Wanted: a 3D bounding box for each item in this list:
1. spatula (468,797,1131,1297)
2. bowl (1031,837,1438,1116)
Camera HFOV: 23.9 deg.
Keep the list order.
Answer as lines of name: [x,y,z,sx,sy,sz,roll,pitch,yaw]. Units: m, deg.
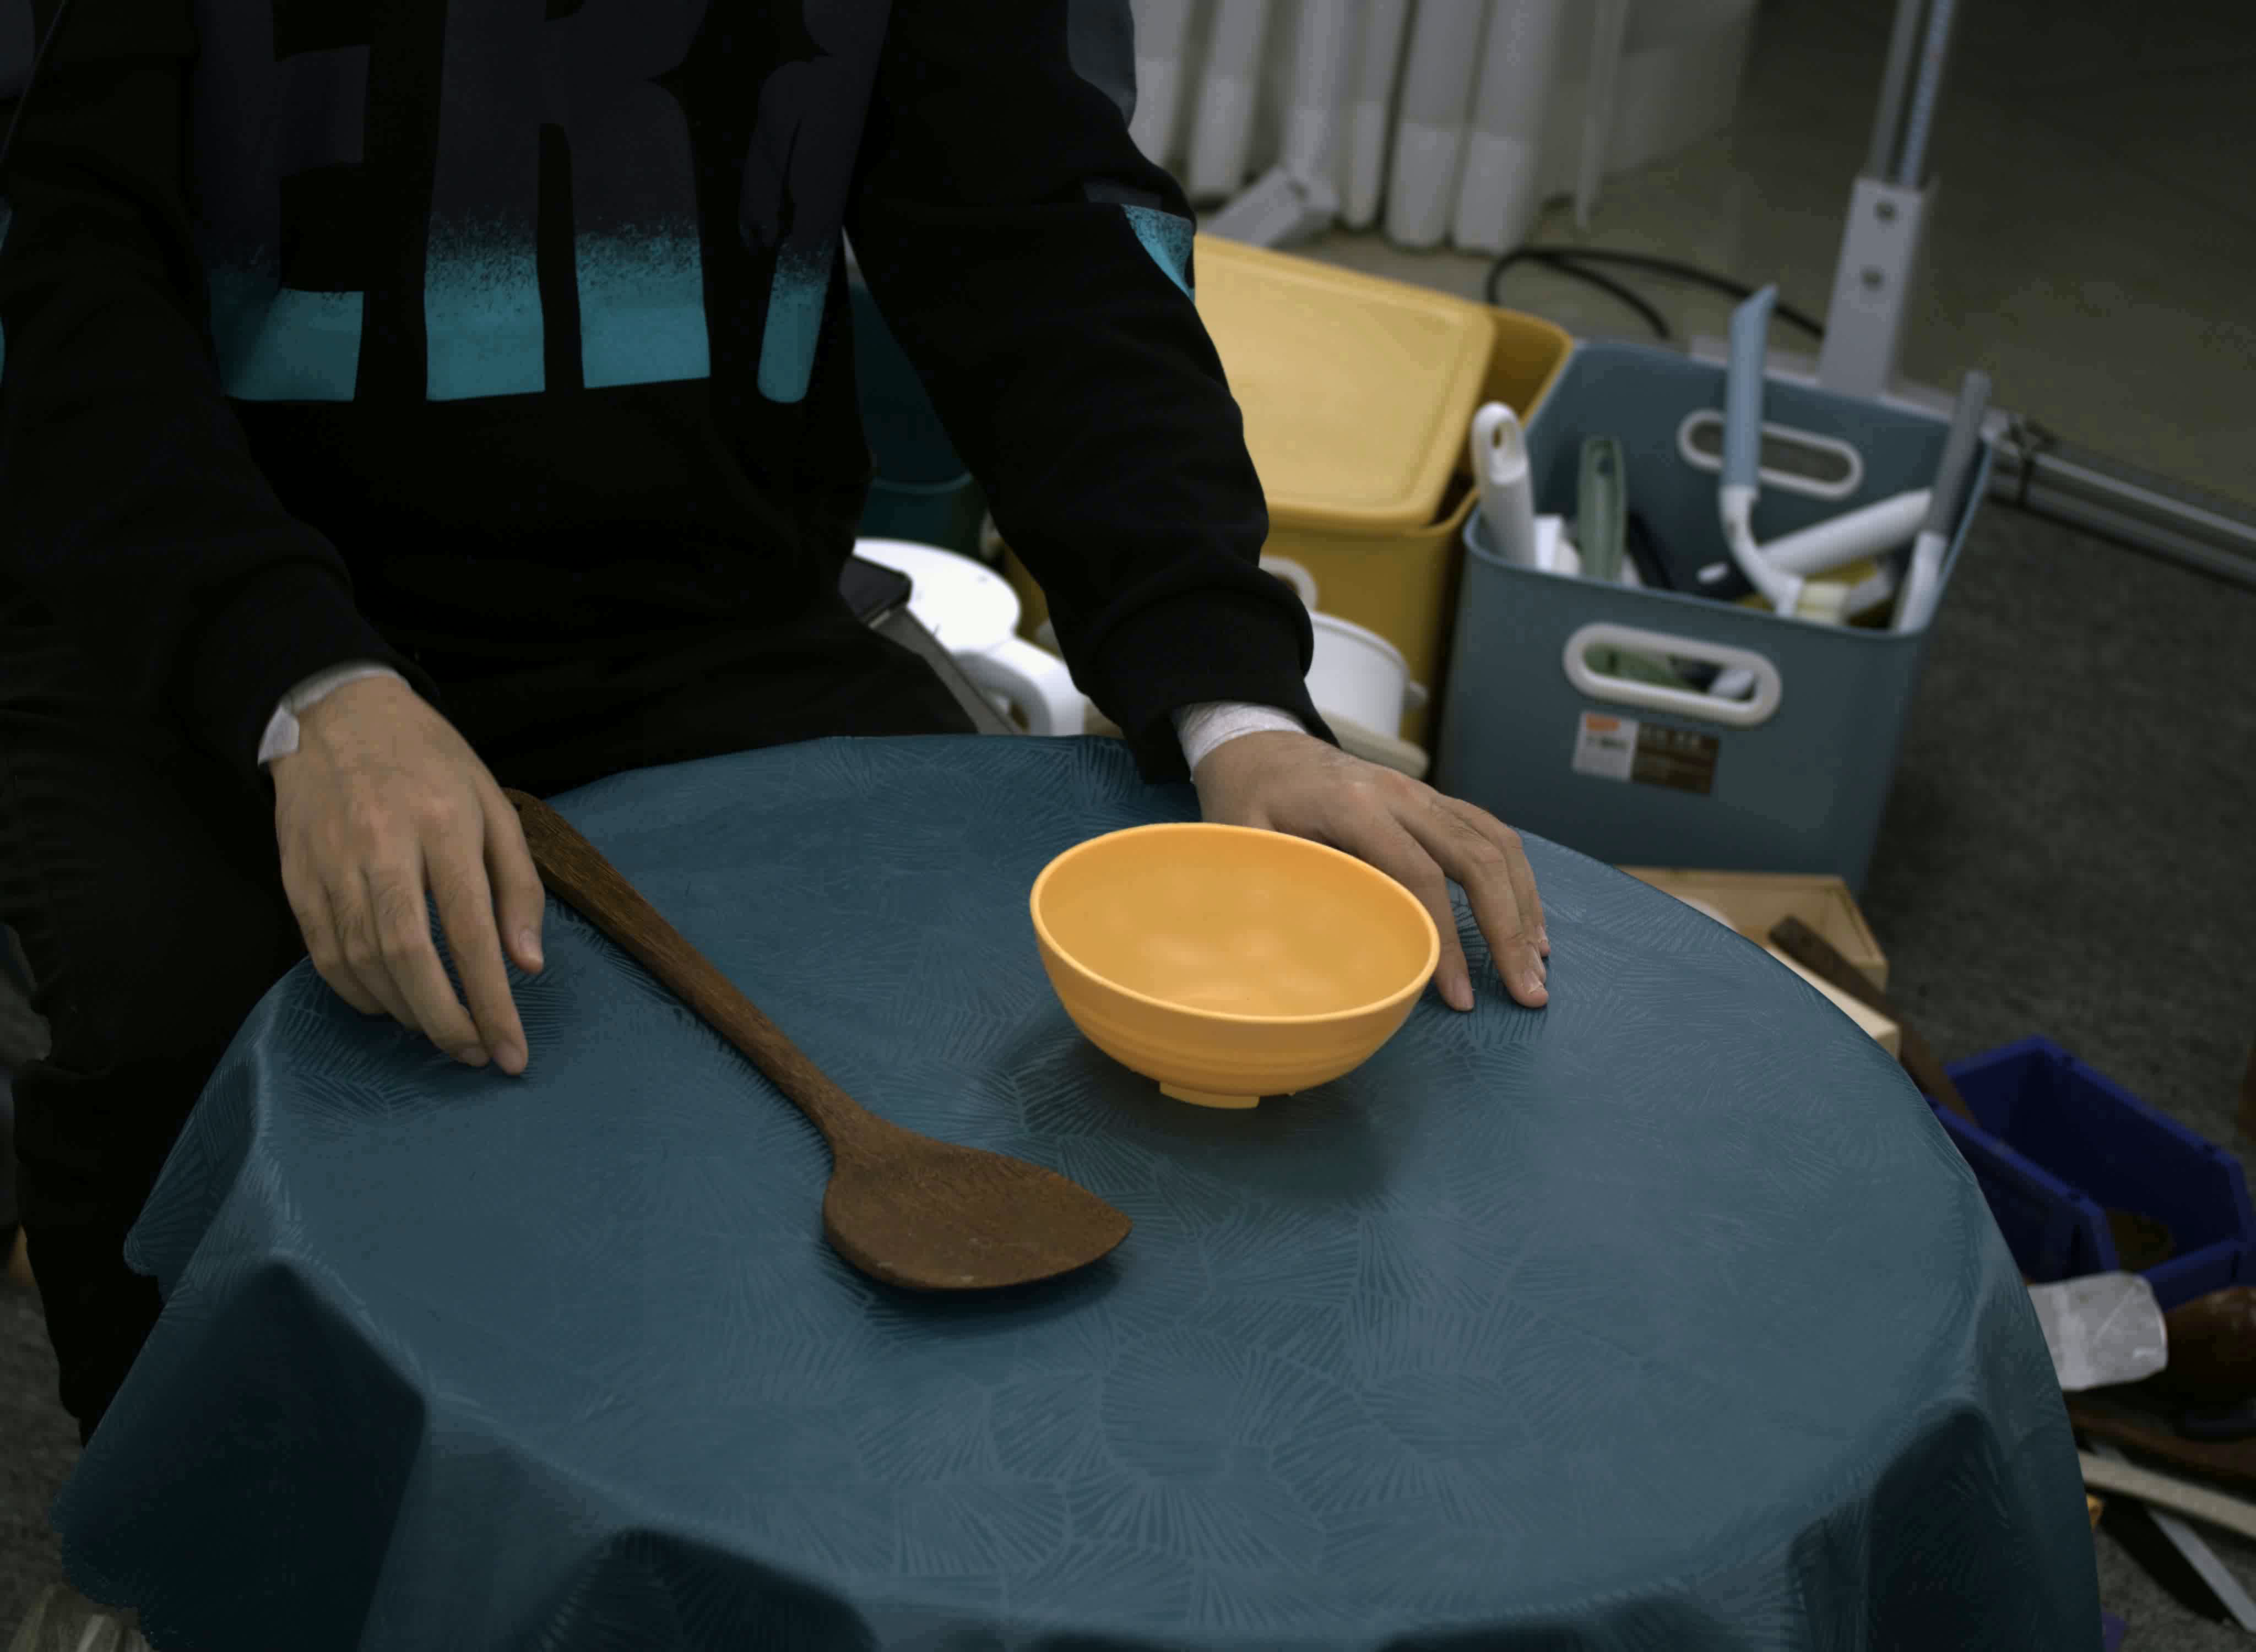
spatula: [-0.135,0.069,1.863,0.095,0.016,0.389,-11,31,-32]
bowl: [0.034,0.061,1.872,0.145,0.060,0.146,6,24,-3]
